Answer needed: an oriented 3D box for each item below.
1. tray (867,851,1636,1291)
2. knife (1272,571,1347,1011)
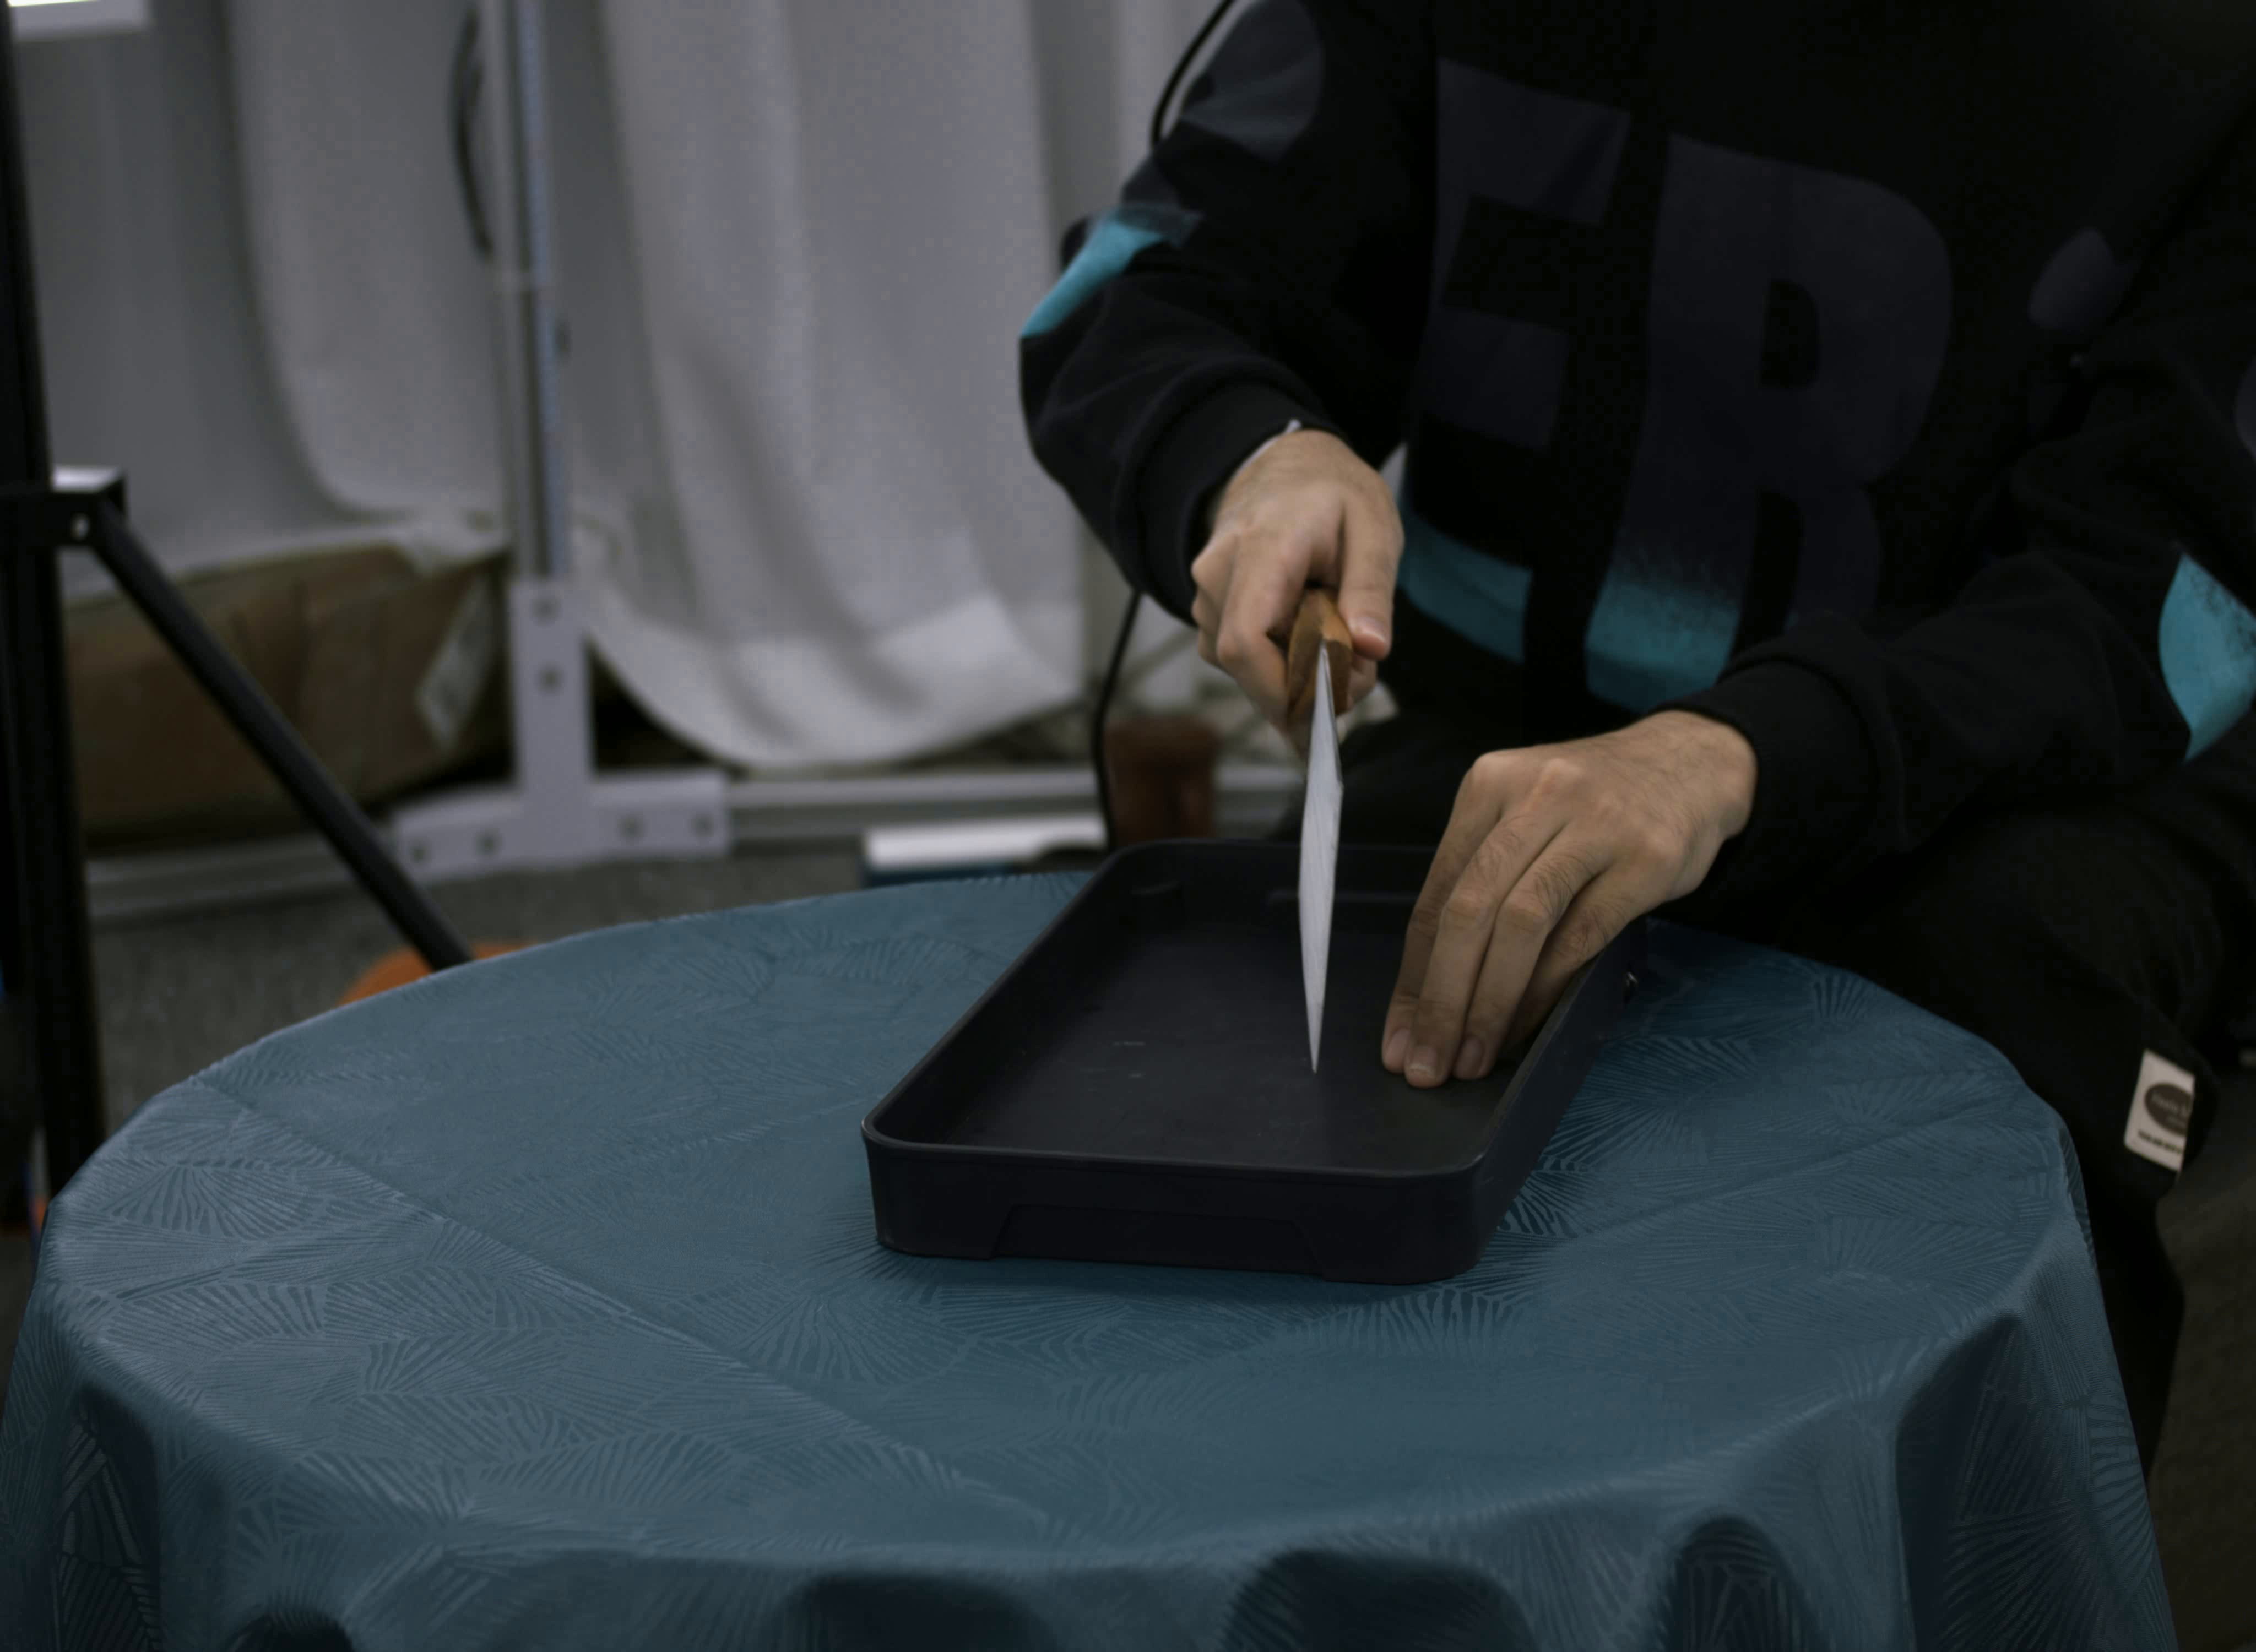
[{"bbox_3d":[0.046,0.069,1.624,0.185,0.037,0.315,1,16,14],"label":"tray"},{"bbox_3d":[0.058,-0.012,1.686,0.021,0.093,0.306,4,15,-1],"label":"knife"}]
